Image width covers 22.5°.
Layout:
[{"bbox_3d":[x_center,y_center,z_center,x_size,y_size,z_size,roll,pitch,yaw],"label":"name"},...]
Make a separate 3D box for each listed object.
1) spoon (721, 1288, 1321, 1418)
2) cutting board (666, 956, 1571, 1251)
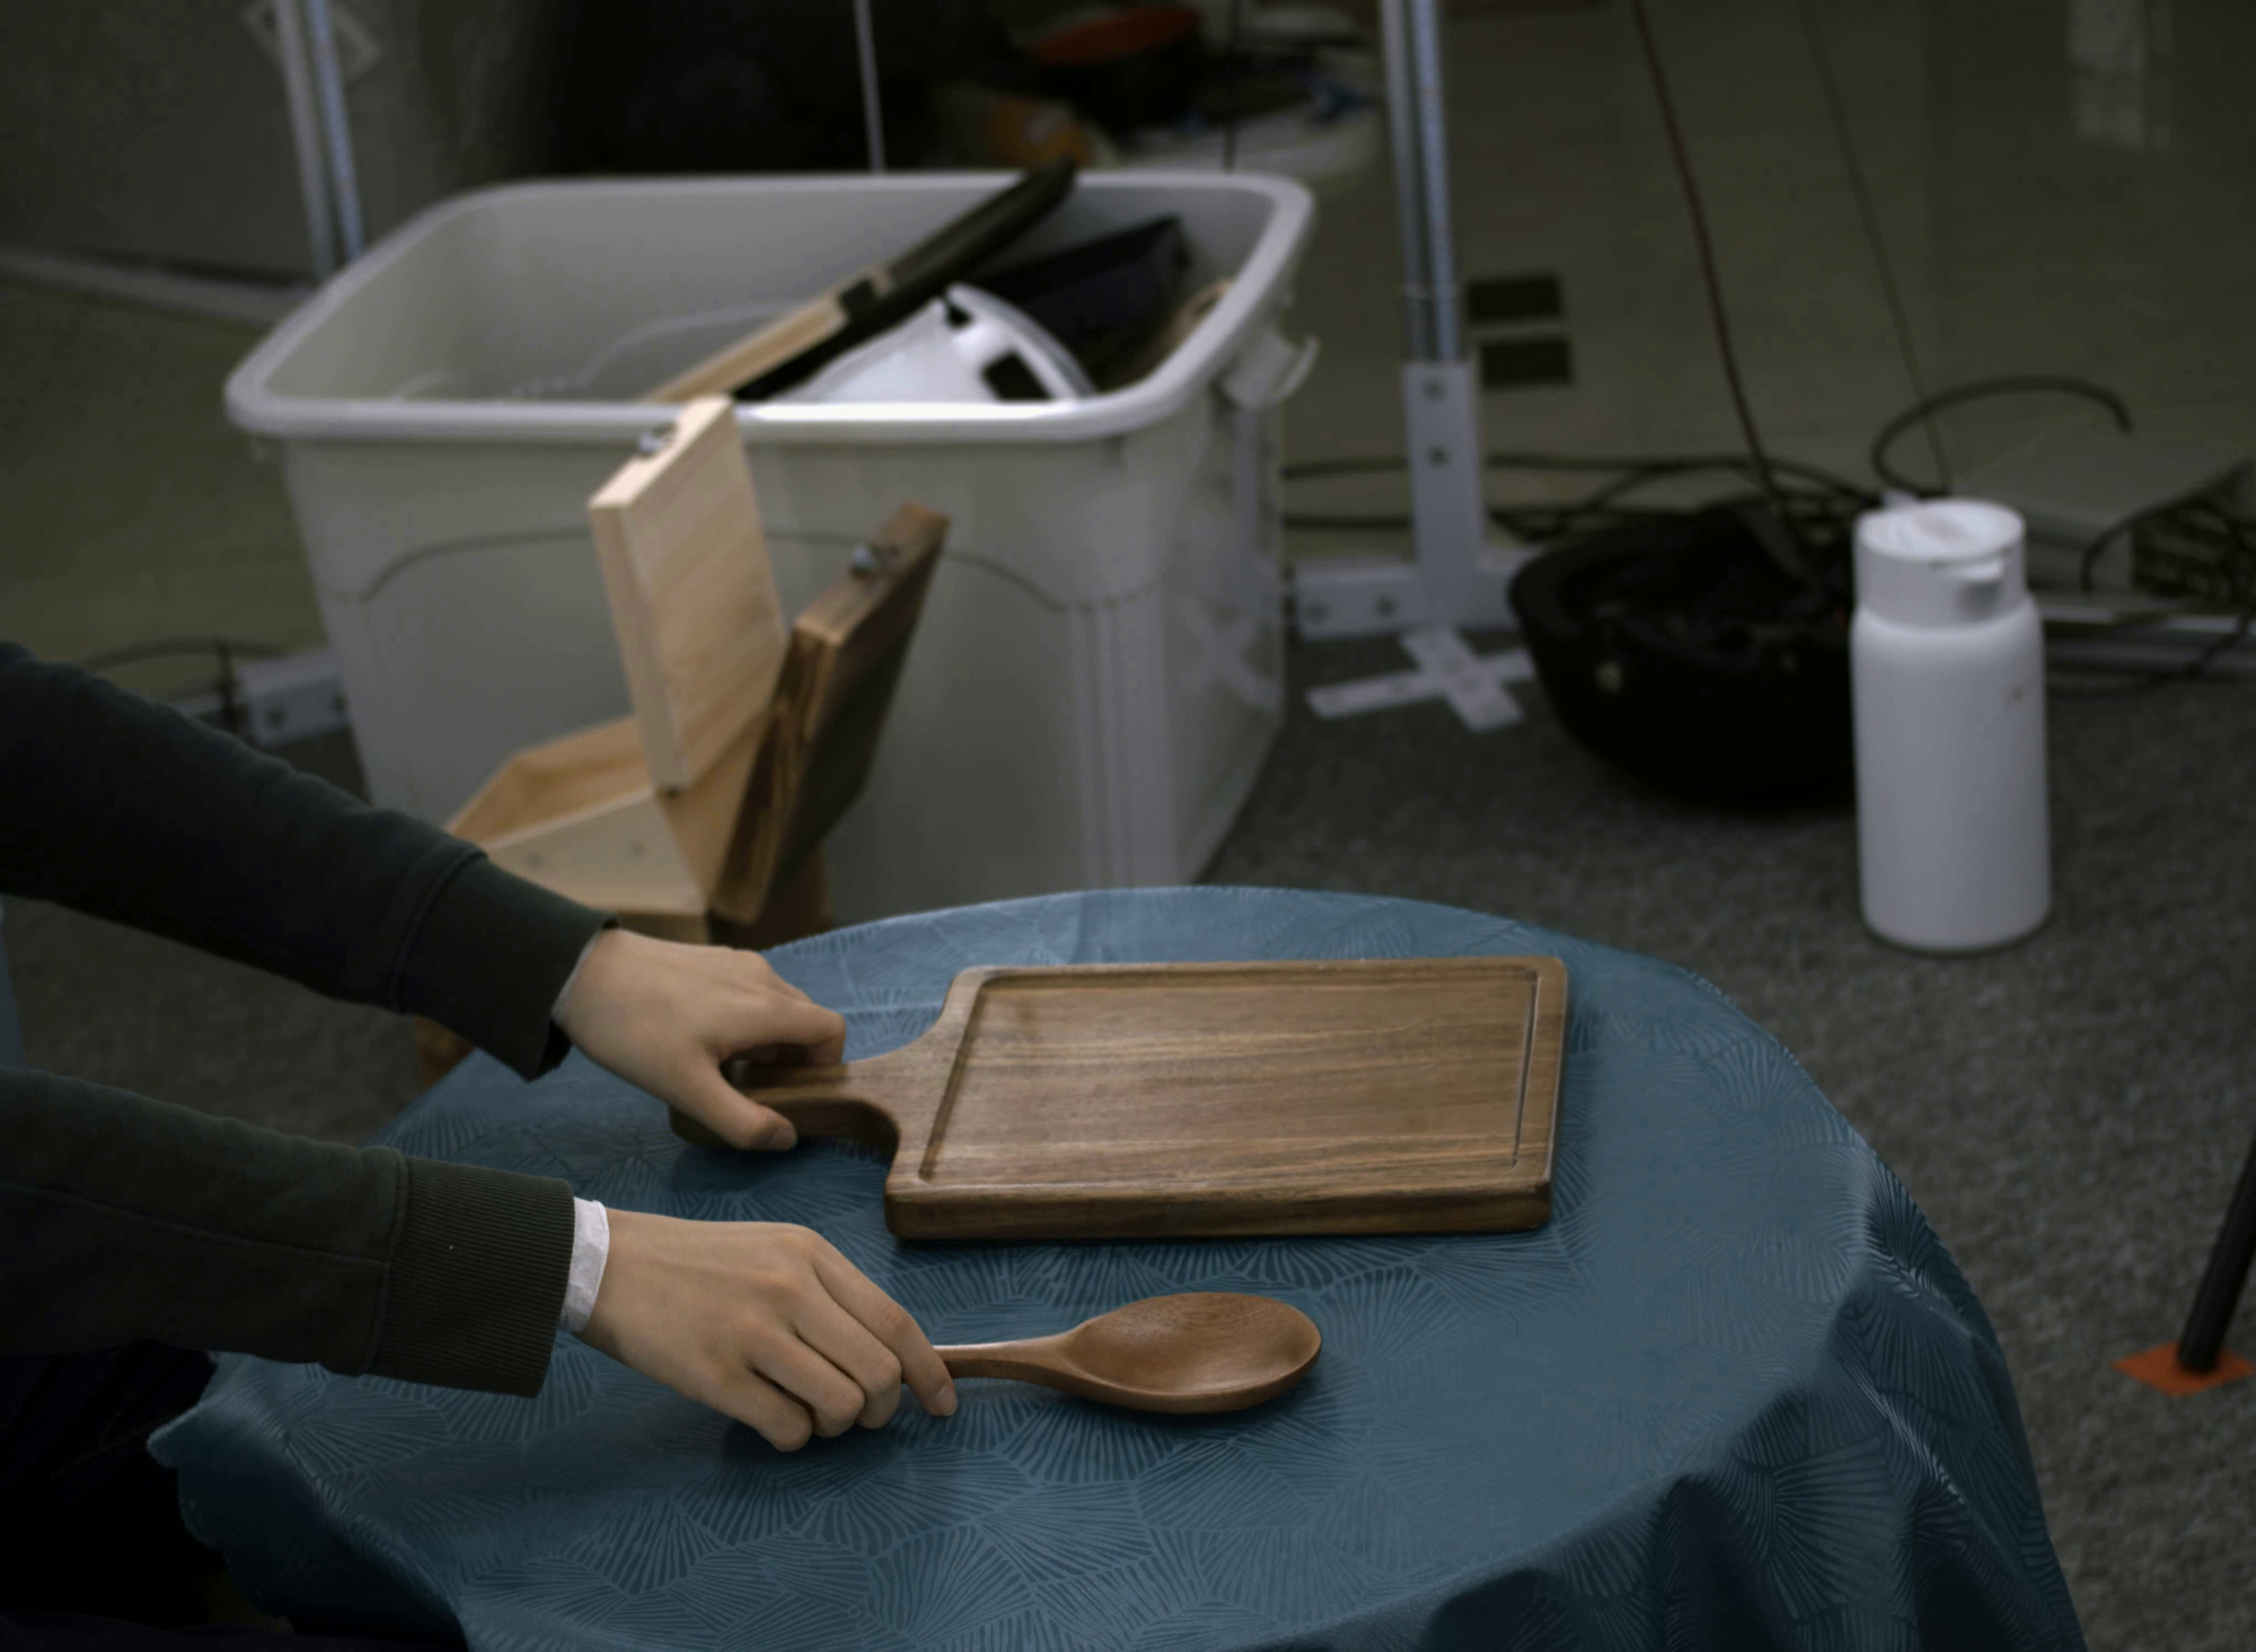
[{"bbox_3d":[-0.038,0.191,2.024,0.215,0.017,0.074,-1,28,5],"label":"spoon"},{"bbox_3d":[-0.006,0.106,2.196,0.351,0.023,0.198,-2,26,8],"label":"cutting board"}]
